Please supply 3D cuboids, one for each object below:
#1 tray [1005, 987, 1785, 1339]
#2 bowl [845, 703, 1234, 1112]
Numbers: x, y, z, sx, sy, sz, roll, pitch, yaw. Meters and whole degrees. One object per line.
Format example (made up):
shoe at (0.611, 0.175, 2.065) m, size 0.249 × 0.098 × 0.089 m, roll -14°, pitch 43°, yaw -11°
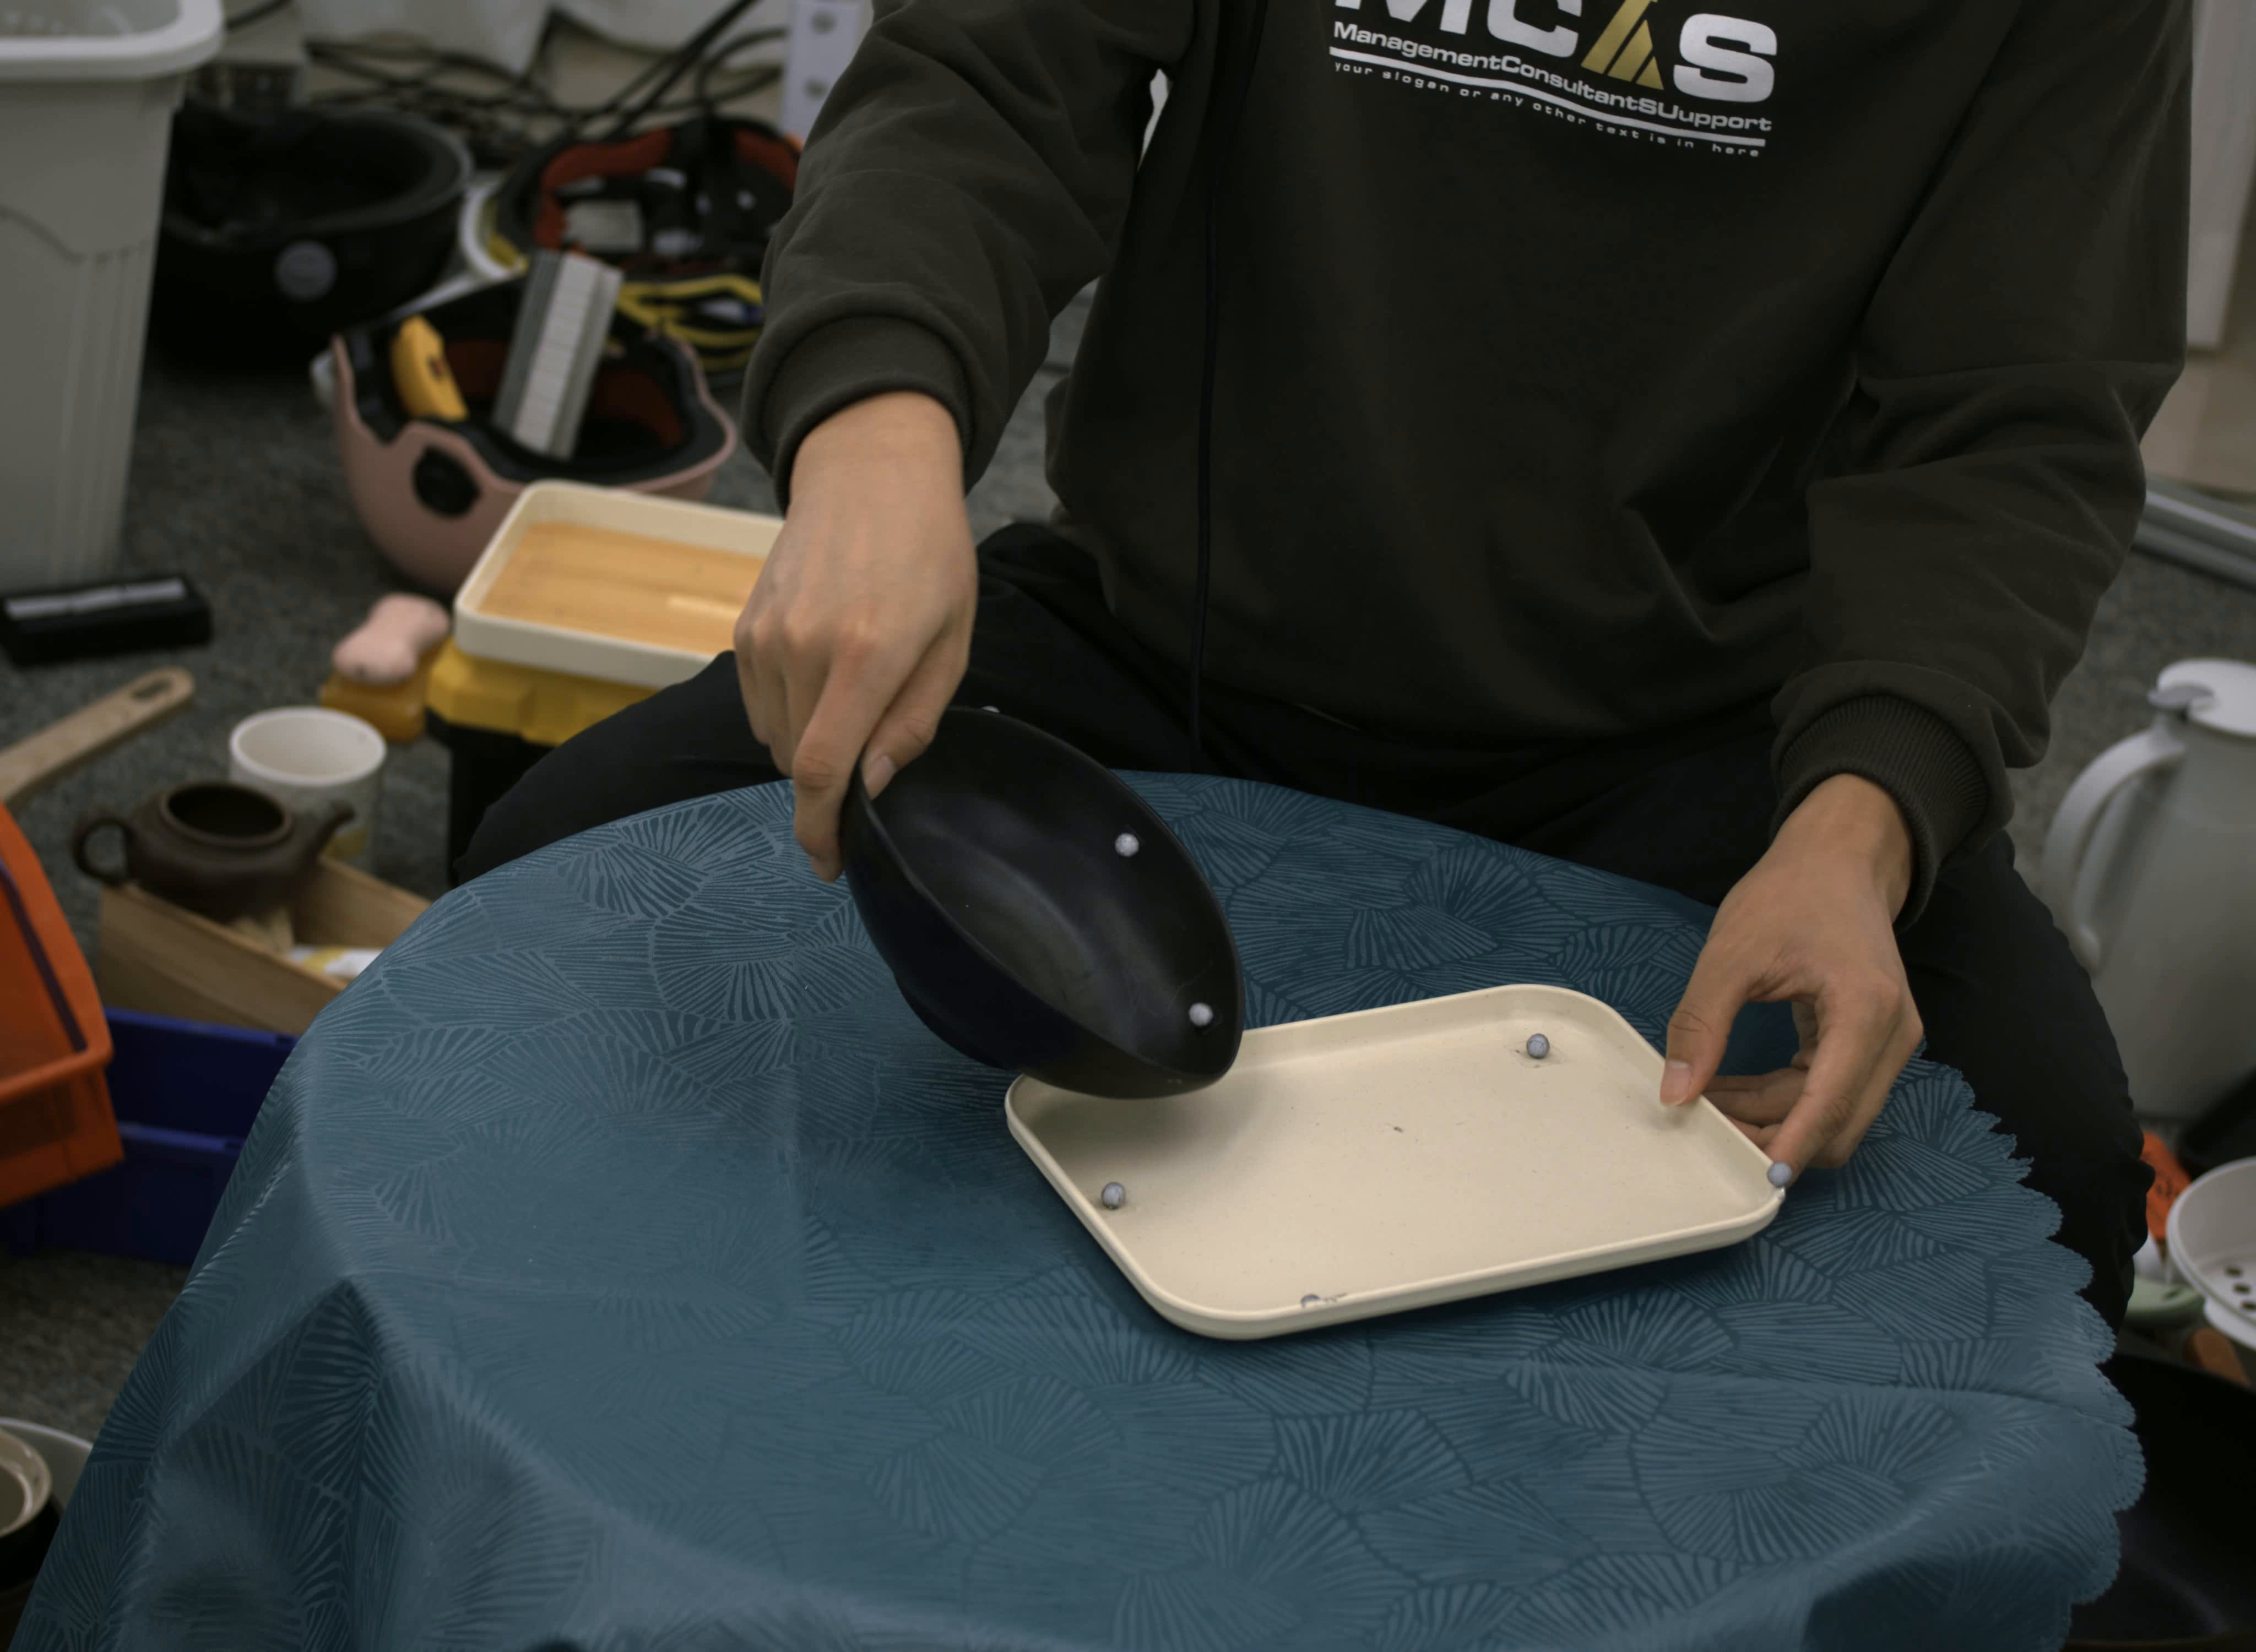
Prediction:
tray at (0.090, 0.114, 1.817) m, size 0.238 × 0.017 × 0.173 m, roll -9°, pitch 29°, yaw -23°
bowl at (-0.038, 0.037, 1.833) m, size 0.170 × 0.066 × 0.137 m, roll 43°, pitch 33°, yaw -1°
